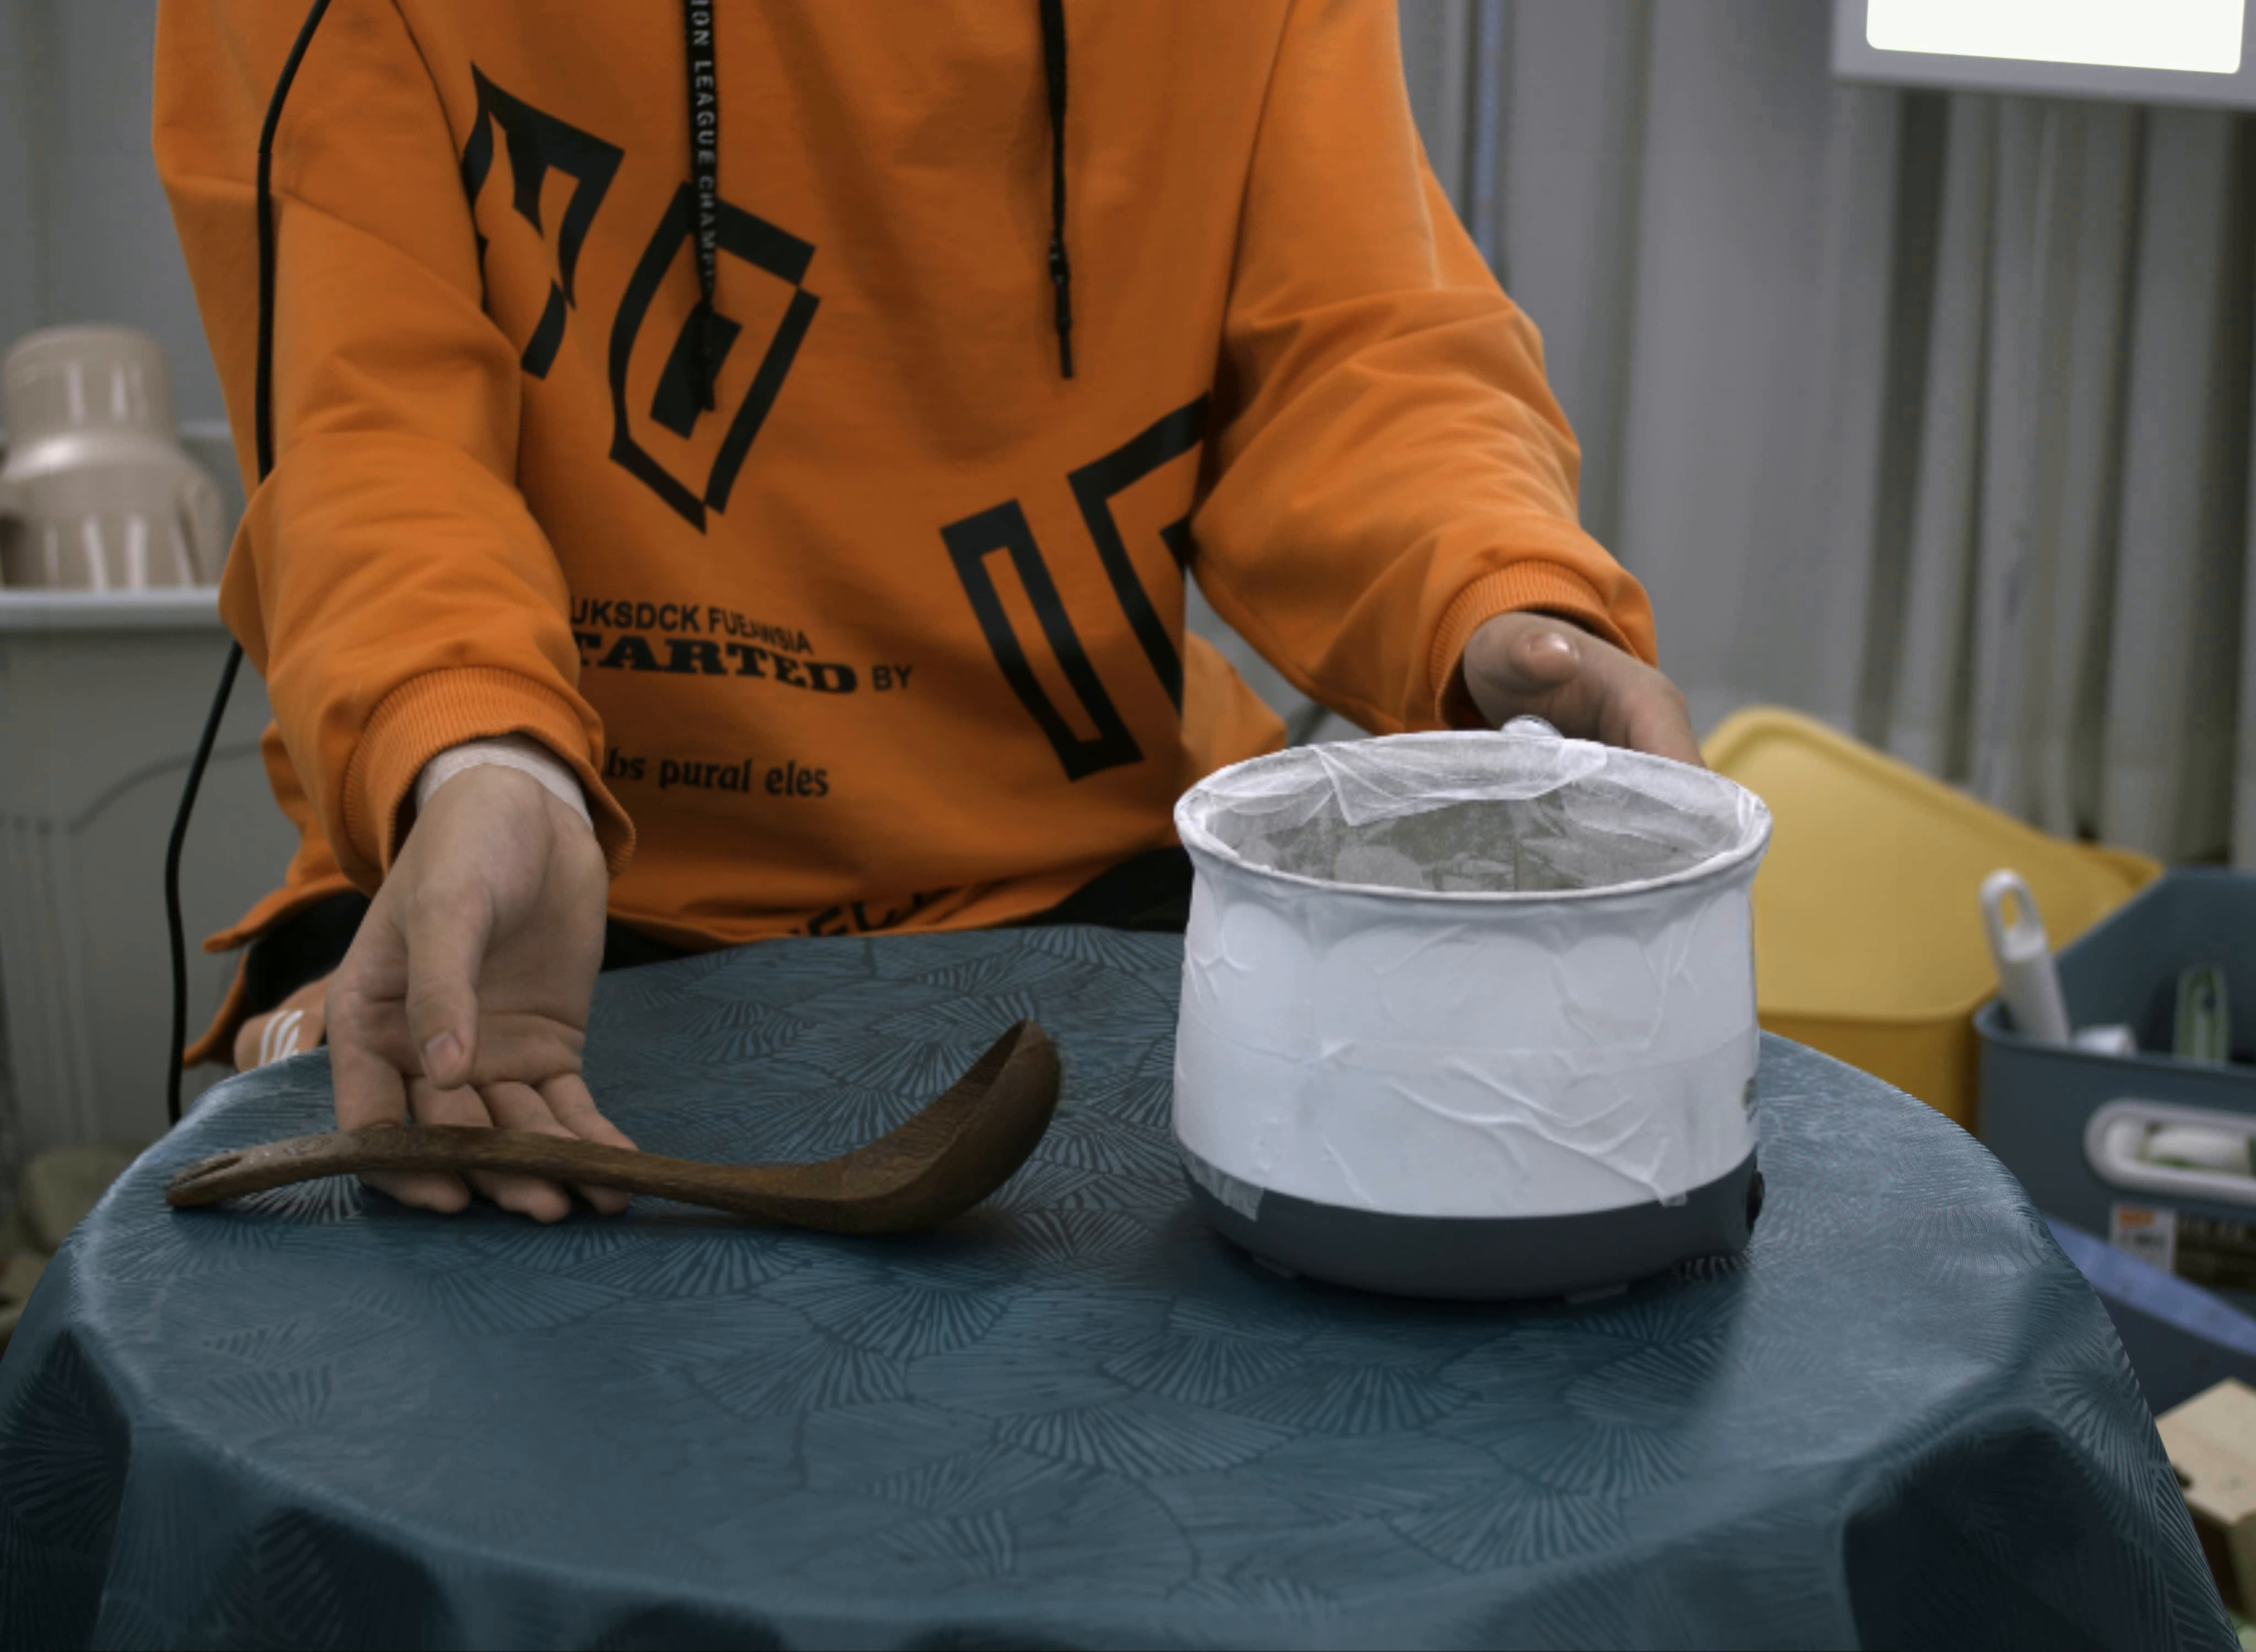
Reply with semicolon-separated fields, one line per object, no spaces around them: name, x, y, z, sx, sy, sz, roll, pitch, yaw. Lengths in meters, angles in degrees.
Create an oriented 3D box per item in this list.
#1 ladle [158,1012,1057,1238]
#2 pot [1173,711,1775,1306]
ladle;-0.157;0.085;1.585;0.273;0.072;0.076;3;14;5
pot;0.107;0.049;1.597;0.177;0.138;0.233;4;17;11
